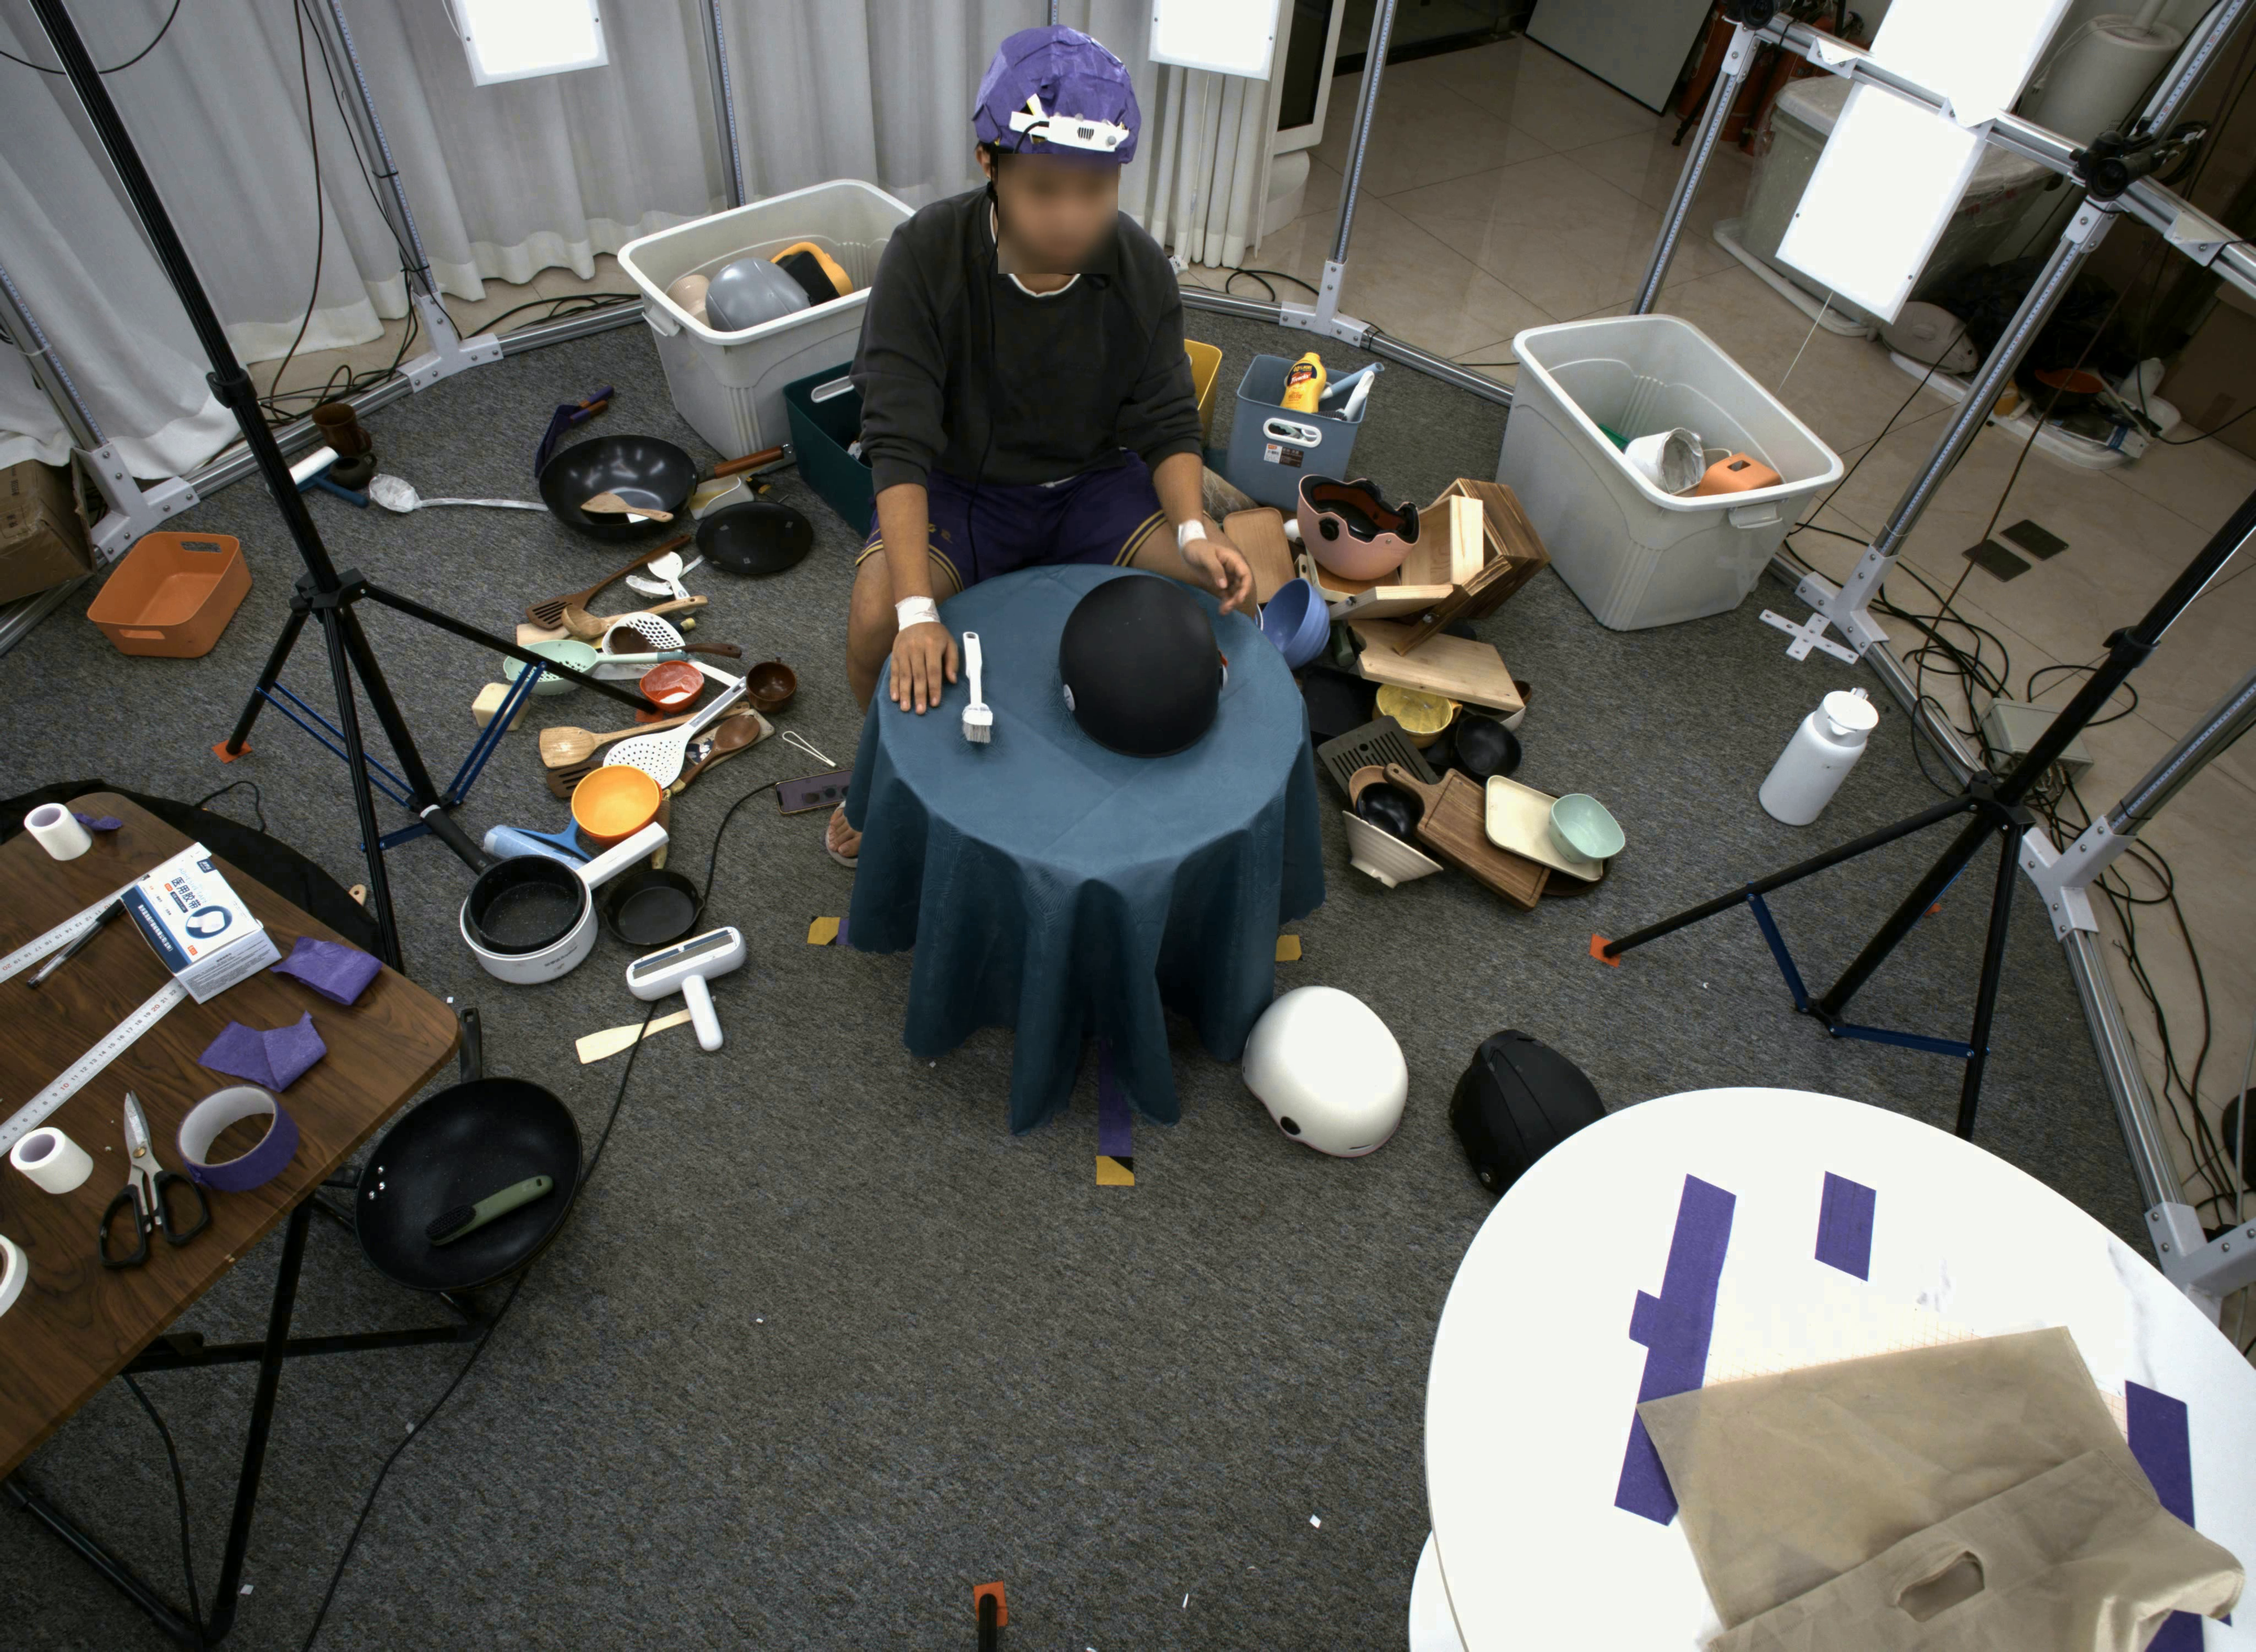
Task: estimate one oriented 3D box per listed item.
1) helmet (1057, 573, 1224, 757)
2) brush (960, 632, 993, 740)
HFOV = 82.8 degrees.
[{"bbox_3d":[0.016,-0.245,1.779,0.230,0.163,0.280,-7,52,-6],"label":"helmet"},{"bbox_3d":[-0.217,-0.195,1.805,0.034,0.049,0.249,2,36,-14],"label":"brush"}]
